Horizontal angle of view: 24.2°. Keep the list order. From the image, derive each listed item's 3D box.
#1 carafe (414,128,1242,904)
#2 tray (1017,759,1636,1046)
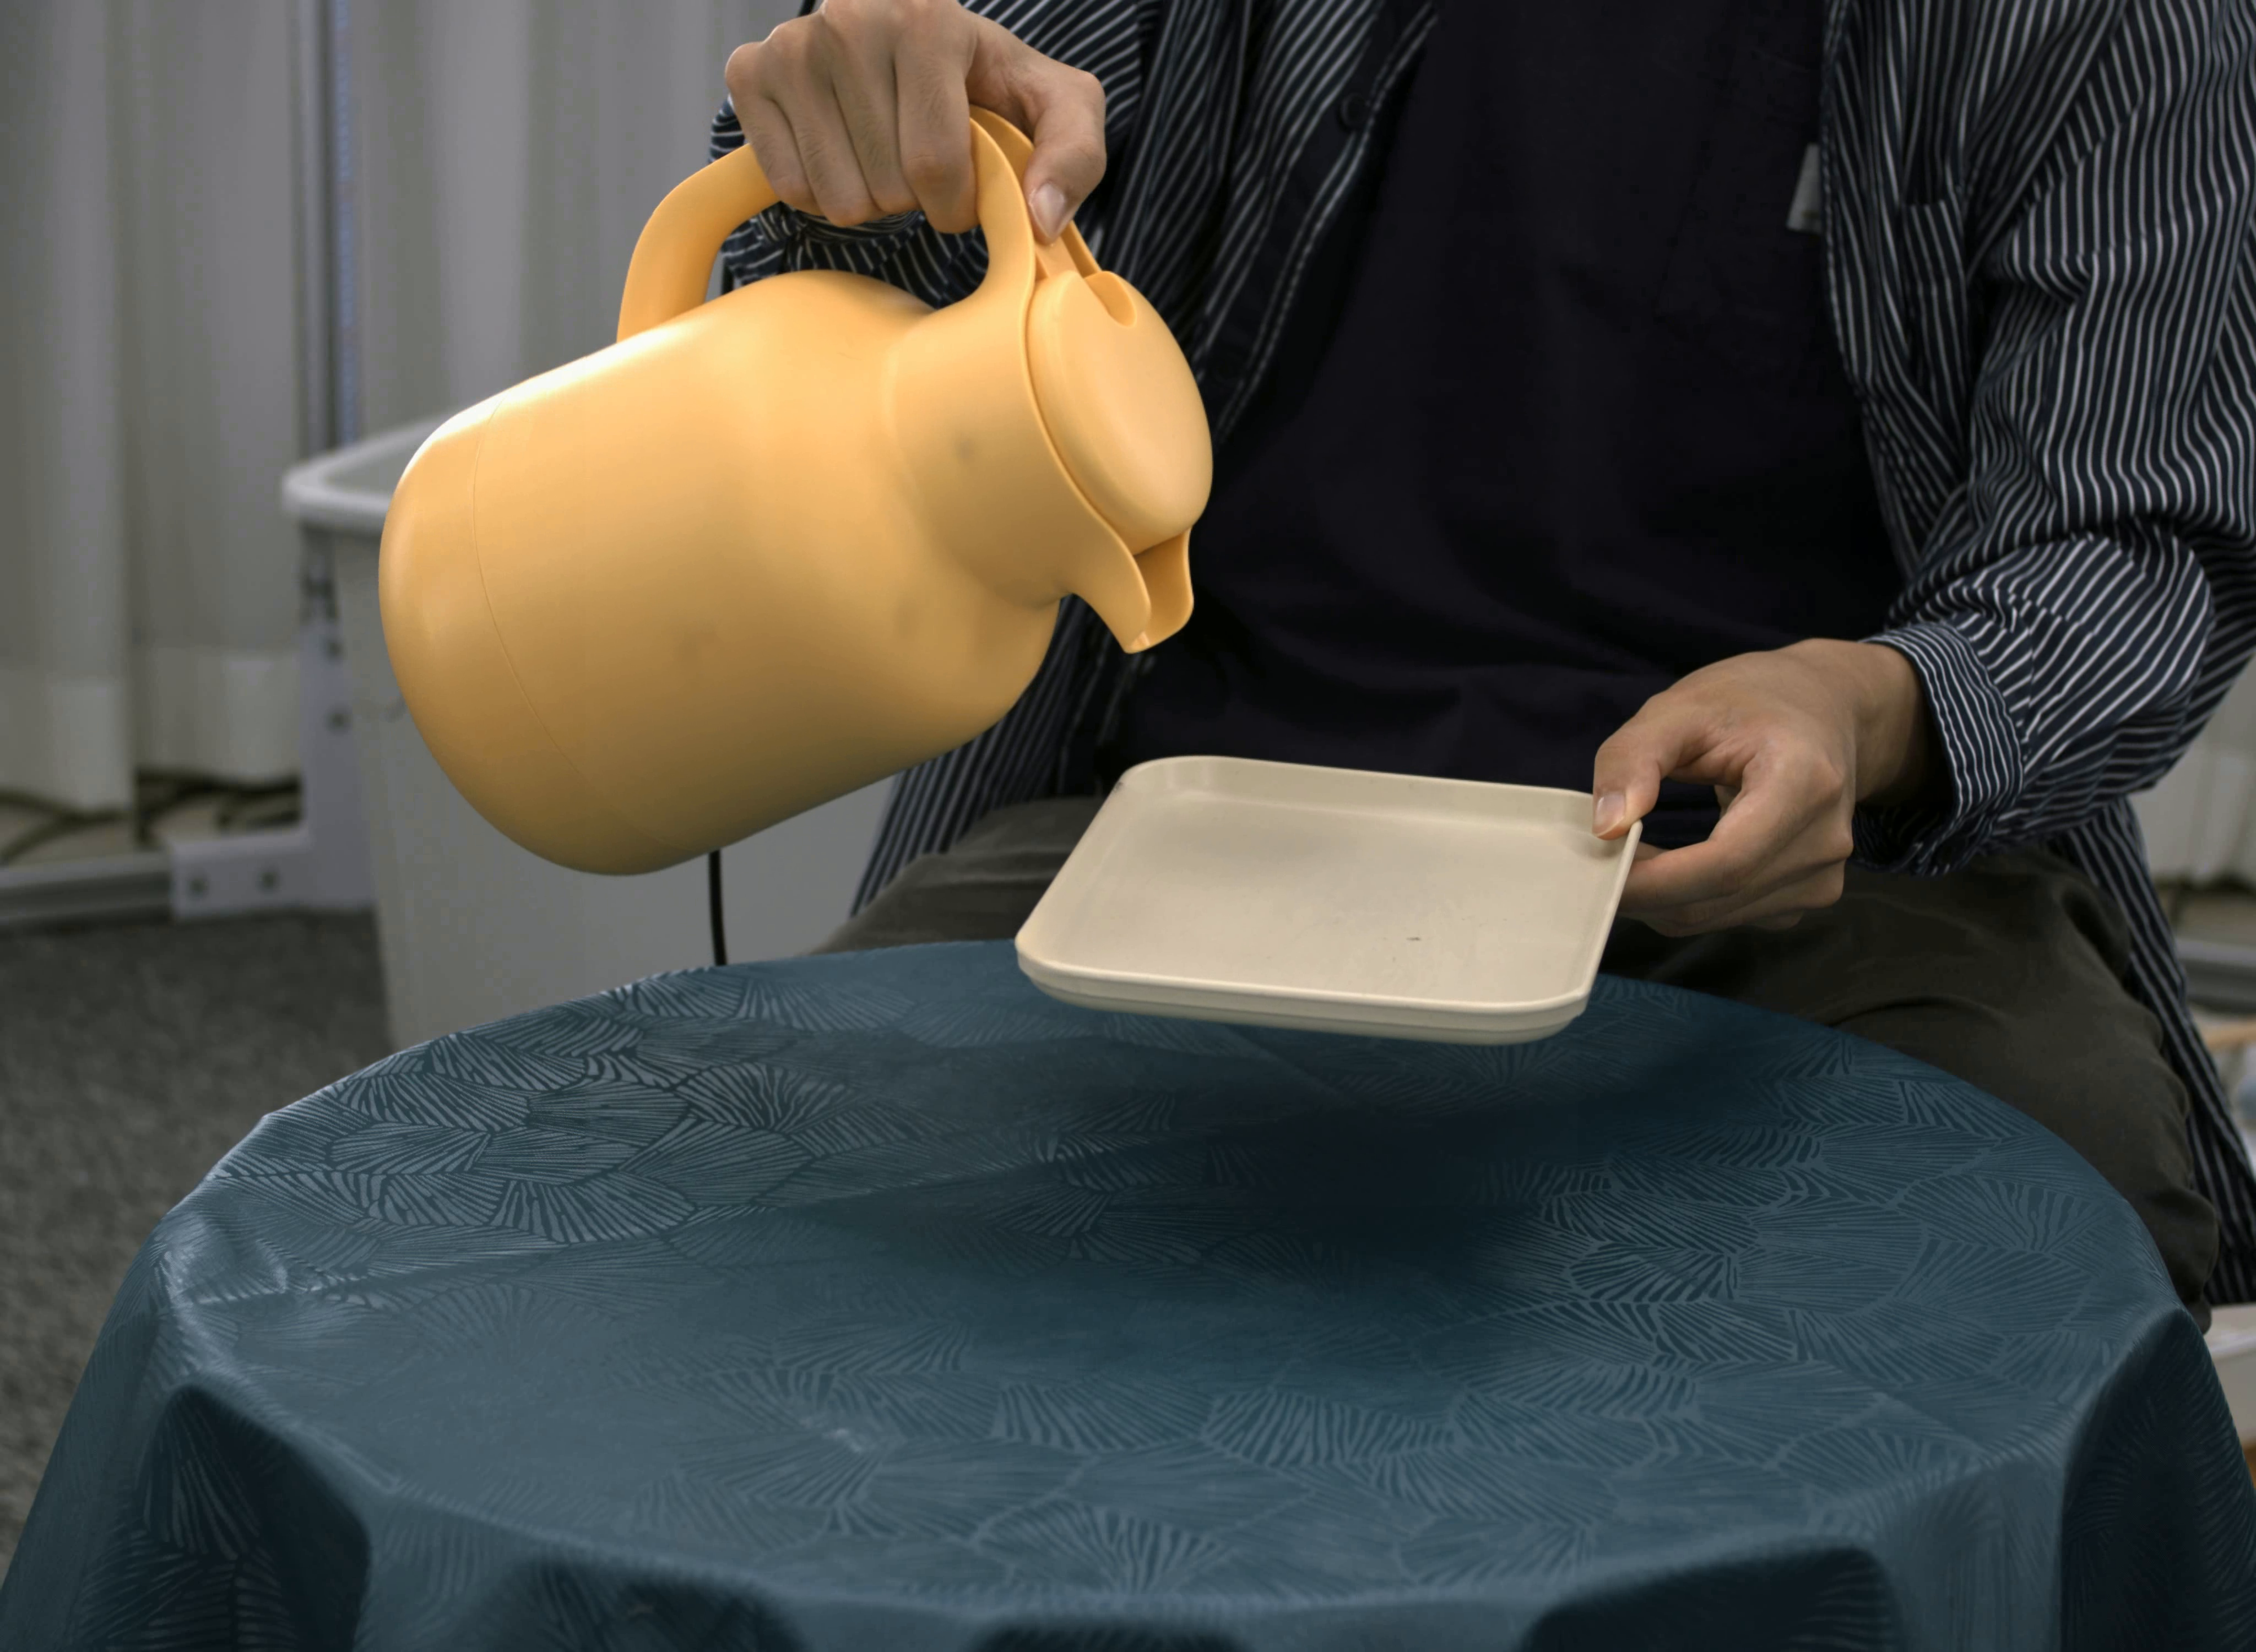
[{"bbox_3d":[-0.095,-0.102,1.674,0.259,0.202,0.164,-20,-4,27],"label":"carafe"},{"bbox_3d":[0.065,0.022,1.621,0.170,0.017,0.239,6,16,8],"label":"tray"}]
